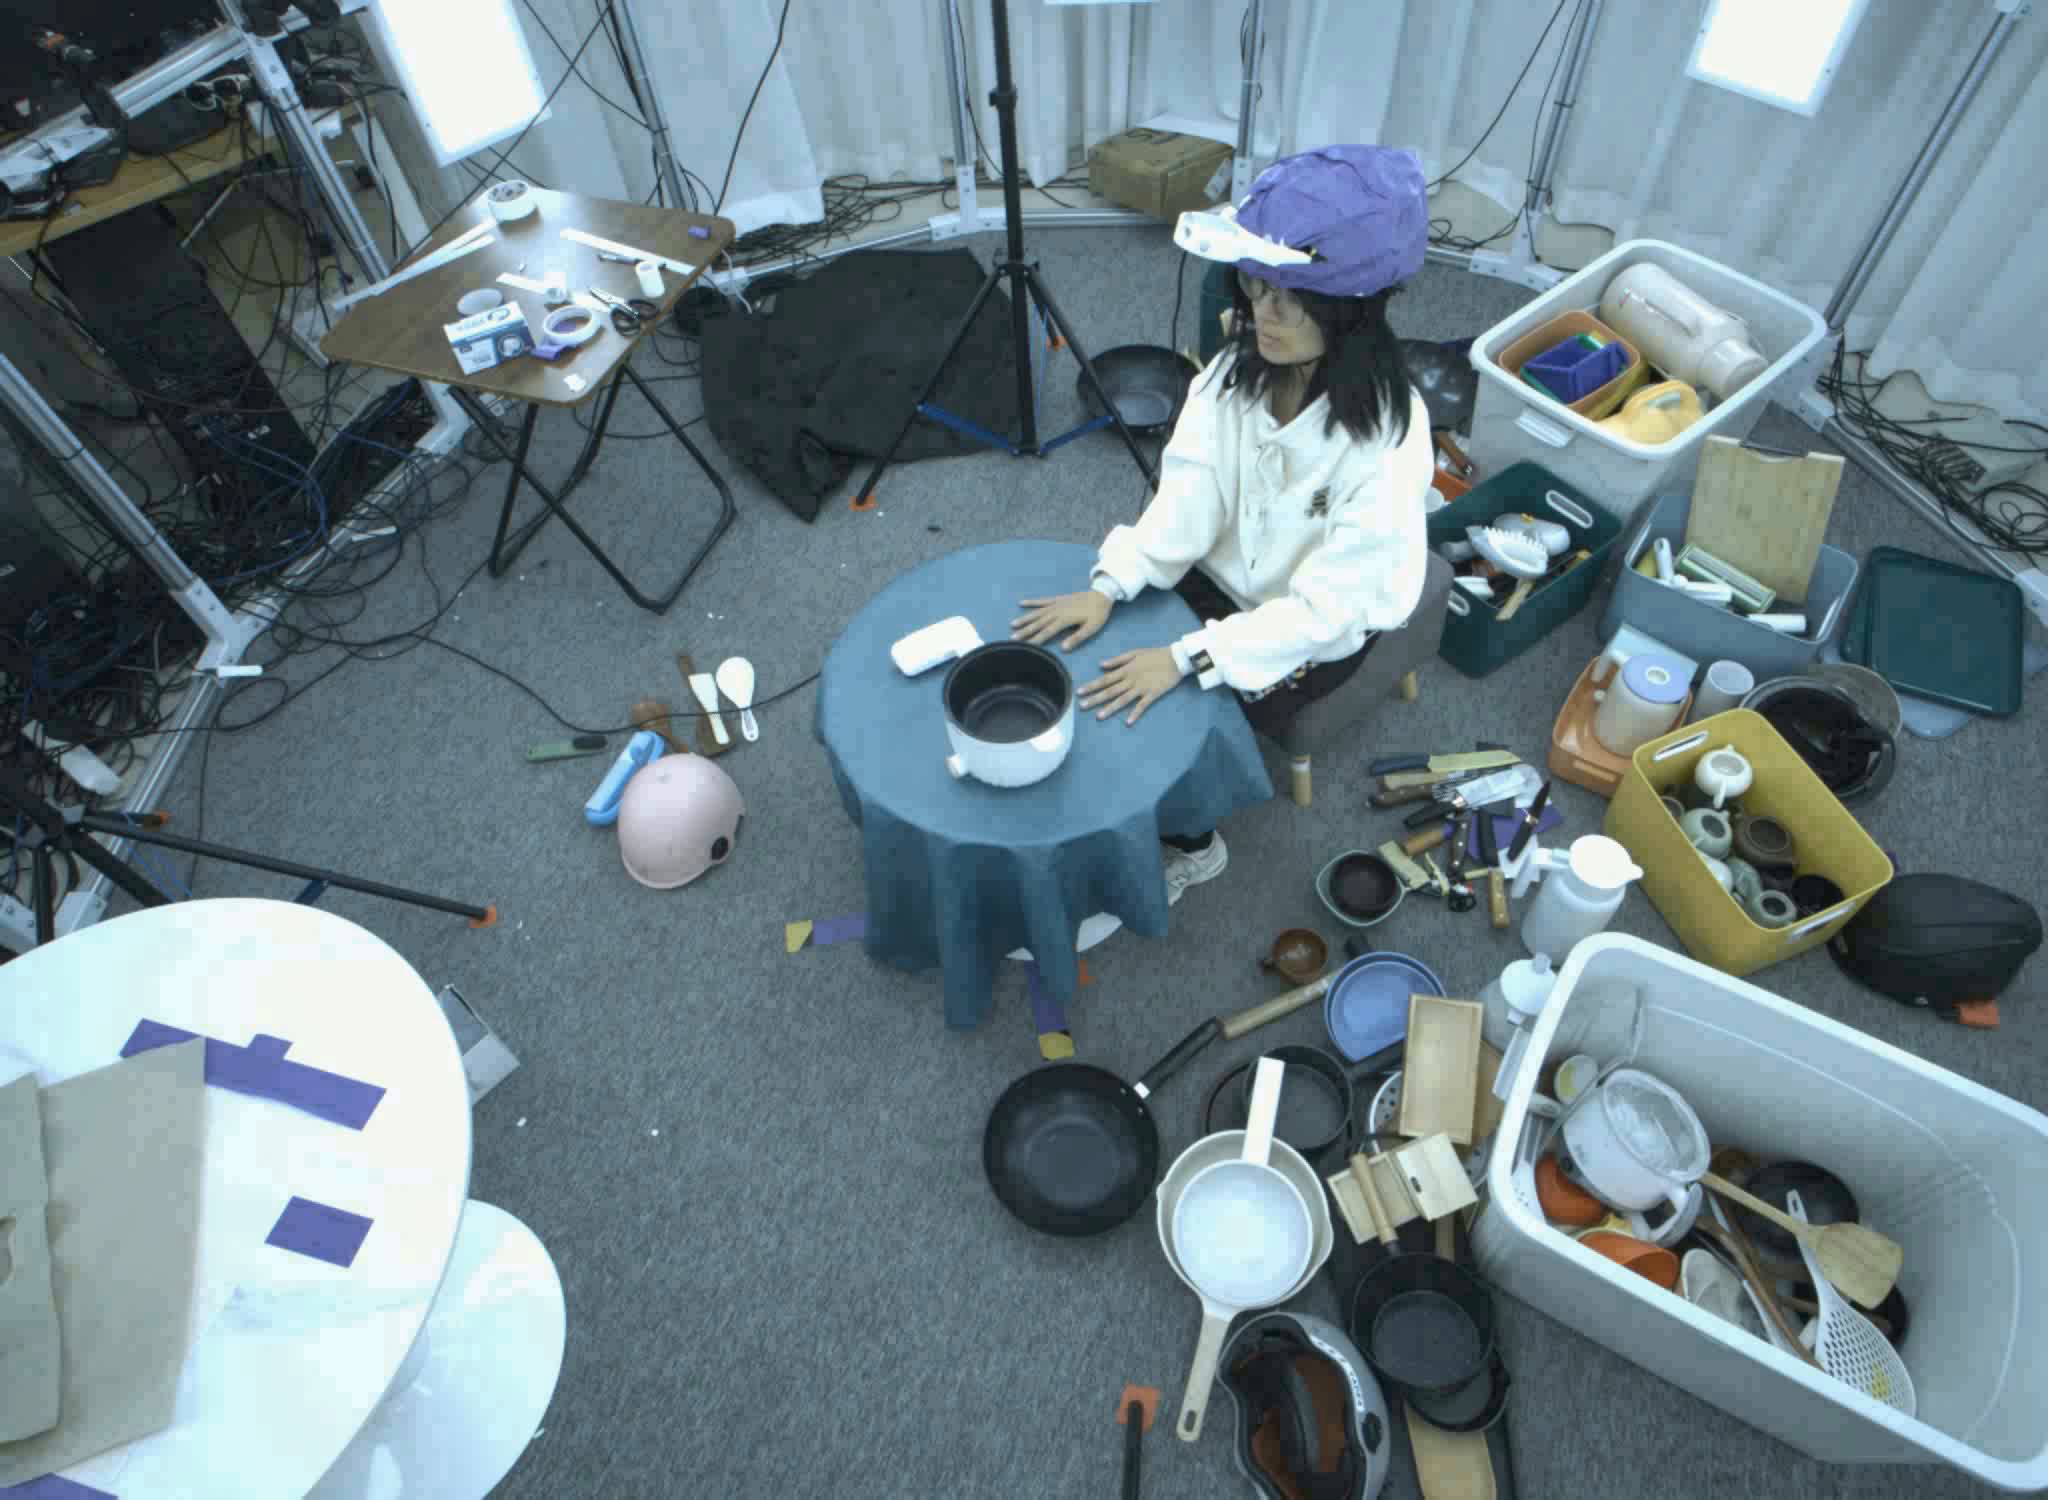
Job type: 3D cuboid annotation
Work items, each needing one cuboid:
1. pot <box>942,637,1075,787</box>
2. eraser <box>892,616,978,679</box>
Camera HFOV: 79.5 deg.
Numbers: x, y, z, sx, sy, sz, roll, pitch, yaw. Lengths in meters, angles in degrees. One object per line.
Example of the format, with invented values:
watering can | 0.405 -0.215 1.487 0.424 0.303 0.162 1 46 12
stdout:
pot | -0.023 -0.040 1.731 0.192 0.144 0.236 -29 57 -20
eraser | -0.136 -0.158 1.886 0.132 0.035 0.062 -26 60 -15
